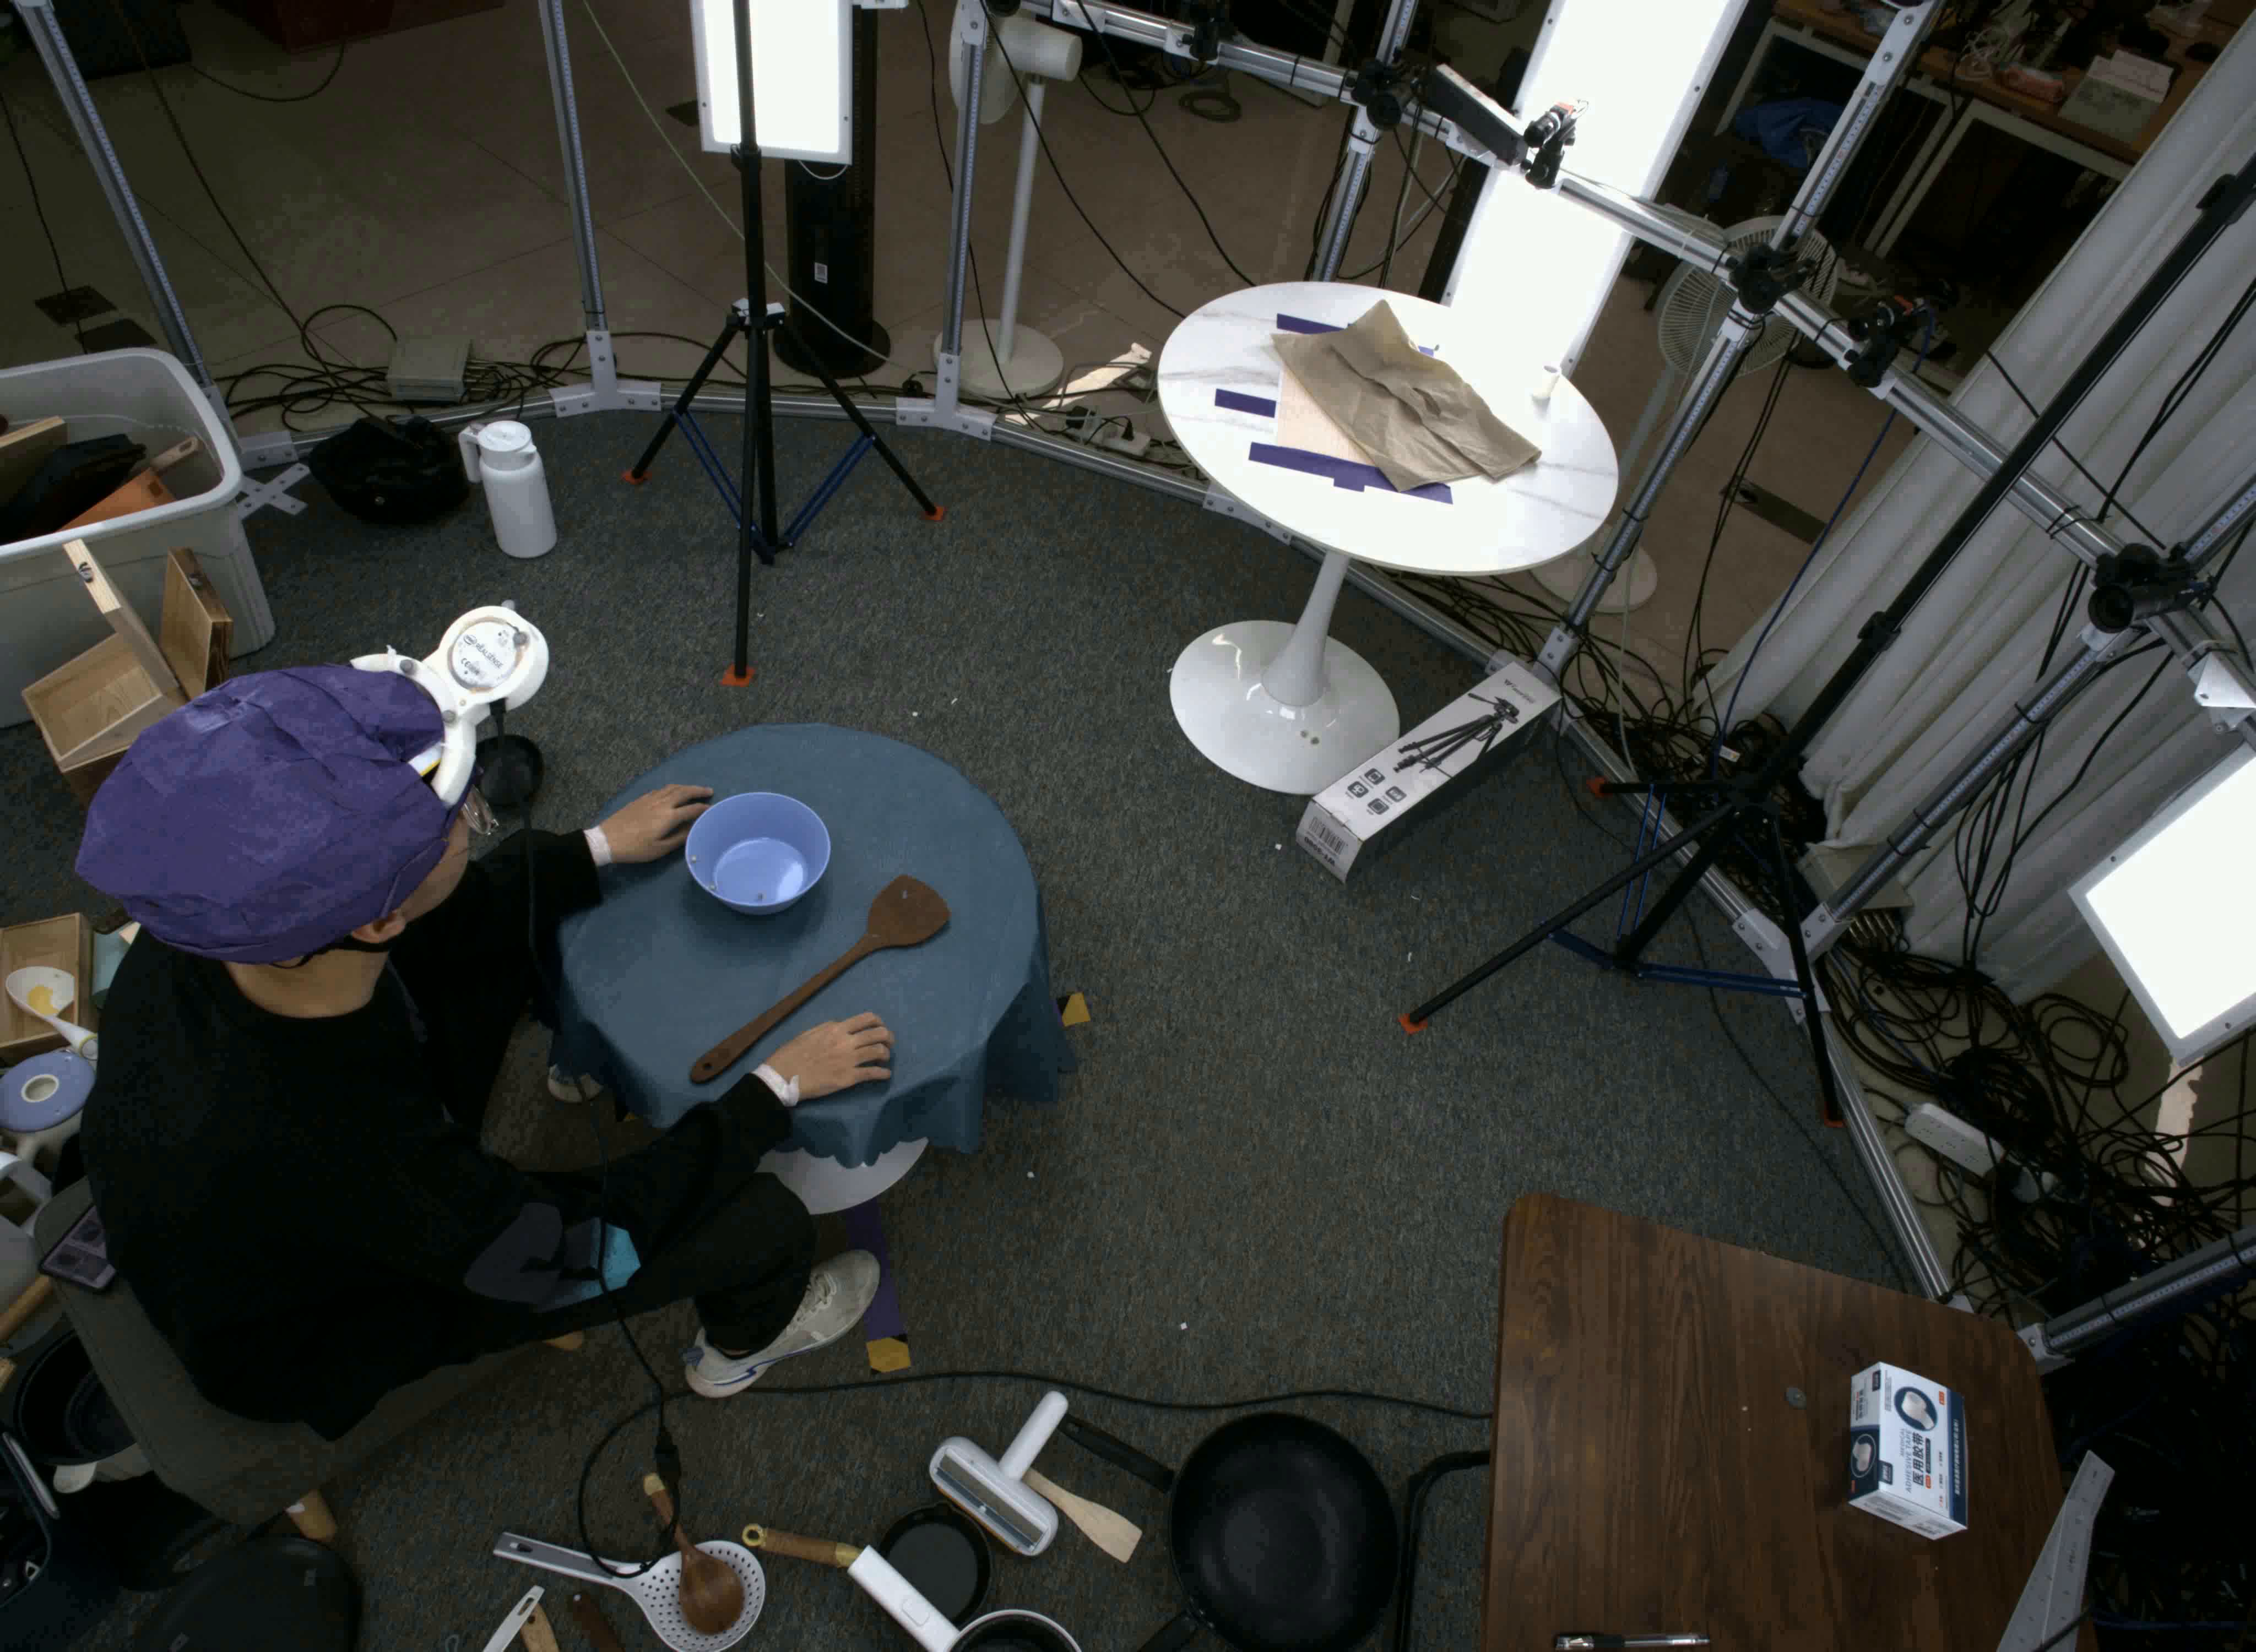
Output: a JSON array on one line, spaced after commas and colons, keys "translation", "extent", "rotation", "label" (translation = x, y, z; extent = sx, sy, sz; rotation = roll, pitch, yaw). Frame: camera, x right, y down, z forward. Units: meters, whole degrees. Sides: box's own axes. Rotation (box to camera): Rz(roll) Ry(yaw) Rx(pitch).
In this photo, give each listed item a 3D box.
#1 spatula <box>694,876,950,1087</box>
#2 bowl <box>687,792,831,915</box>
[{"translation": [-0.377, 0.189, 1.592], "extent": [0.094, 0.016, 0.386], "rotation": [39, 54, 16], "label": "spatula"}, {"translation": [-0.465, 0.045, 1.641], "extent": [0.175, 0.072, 0.173], "rotation": [7, 53, -8], "label": "bowl"}]
